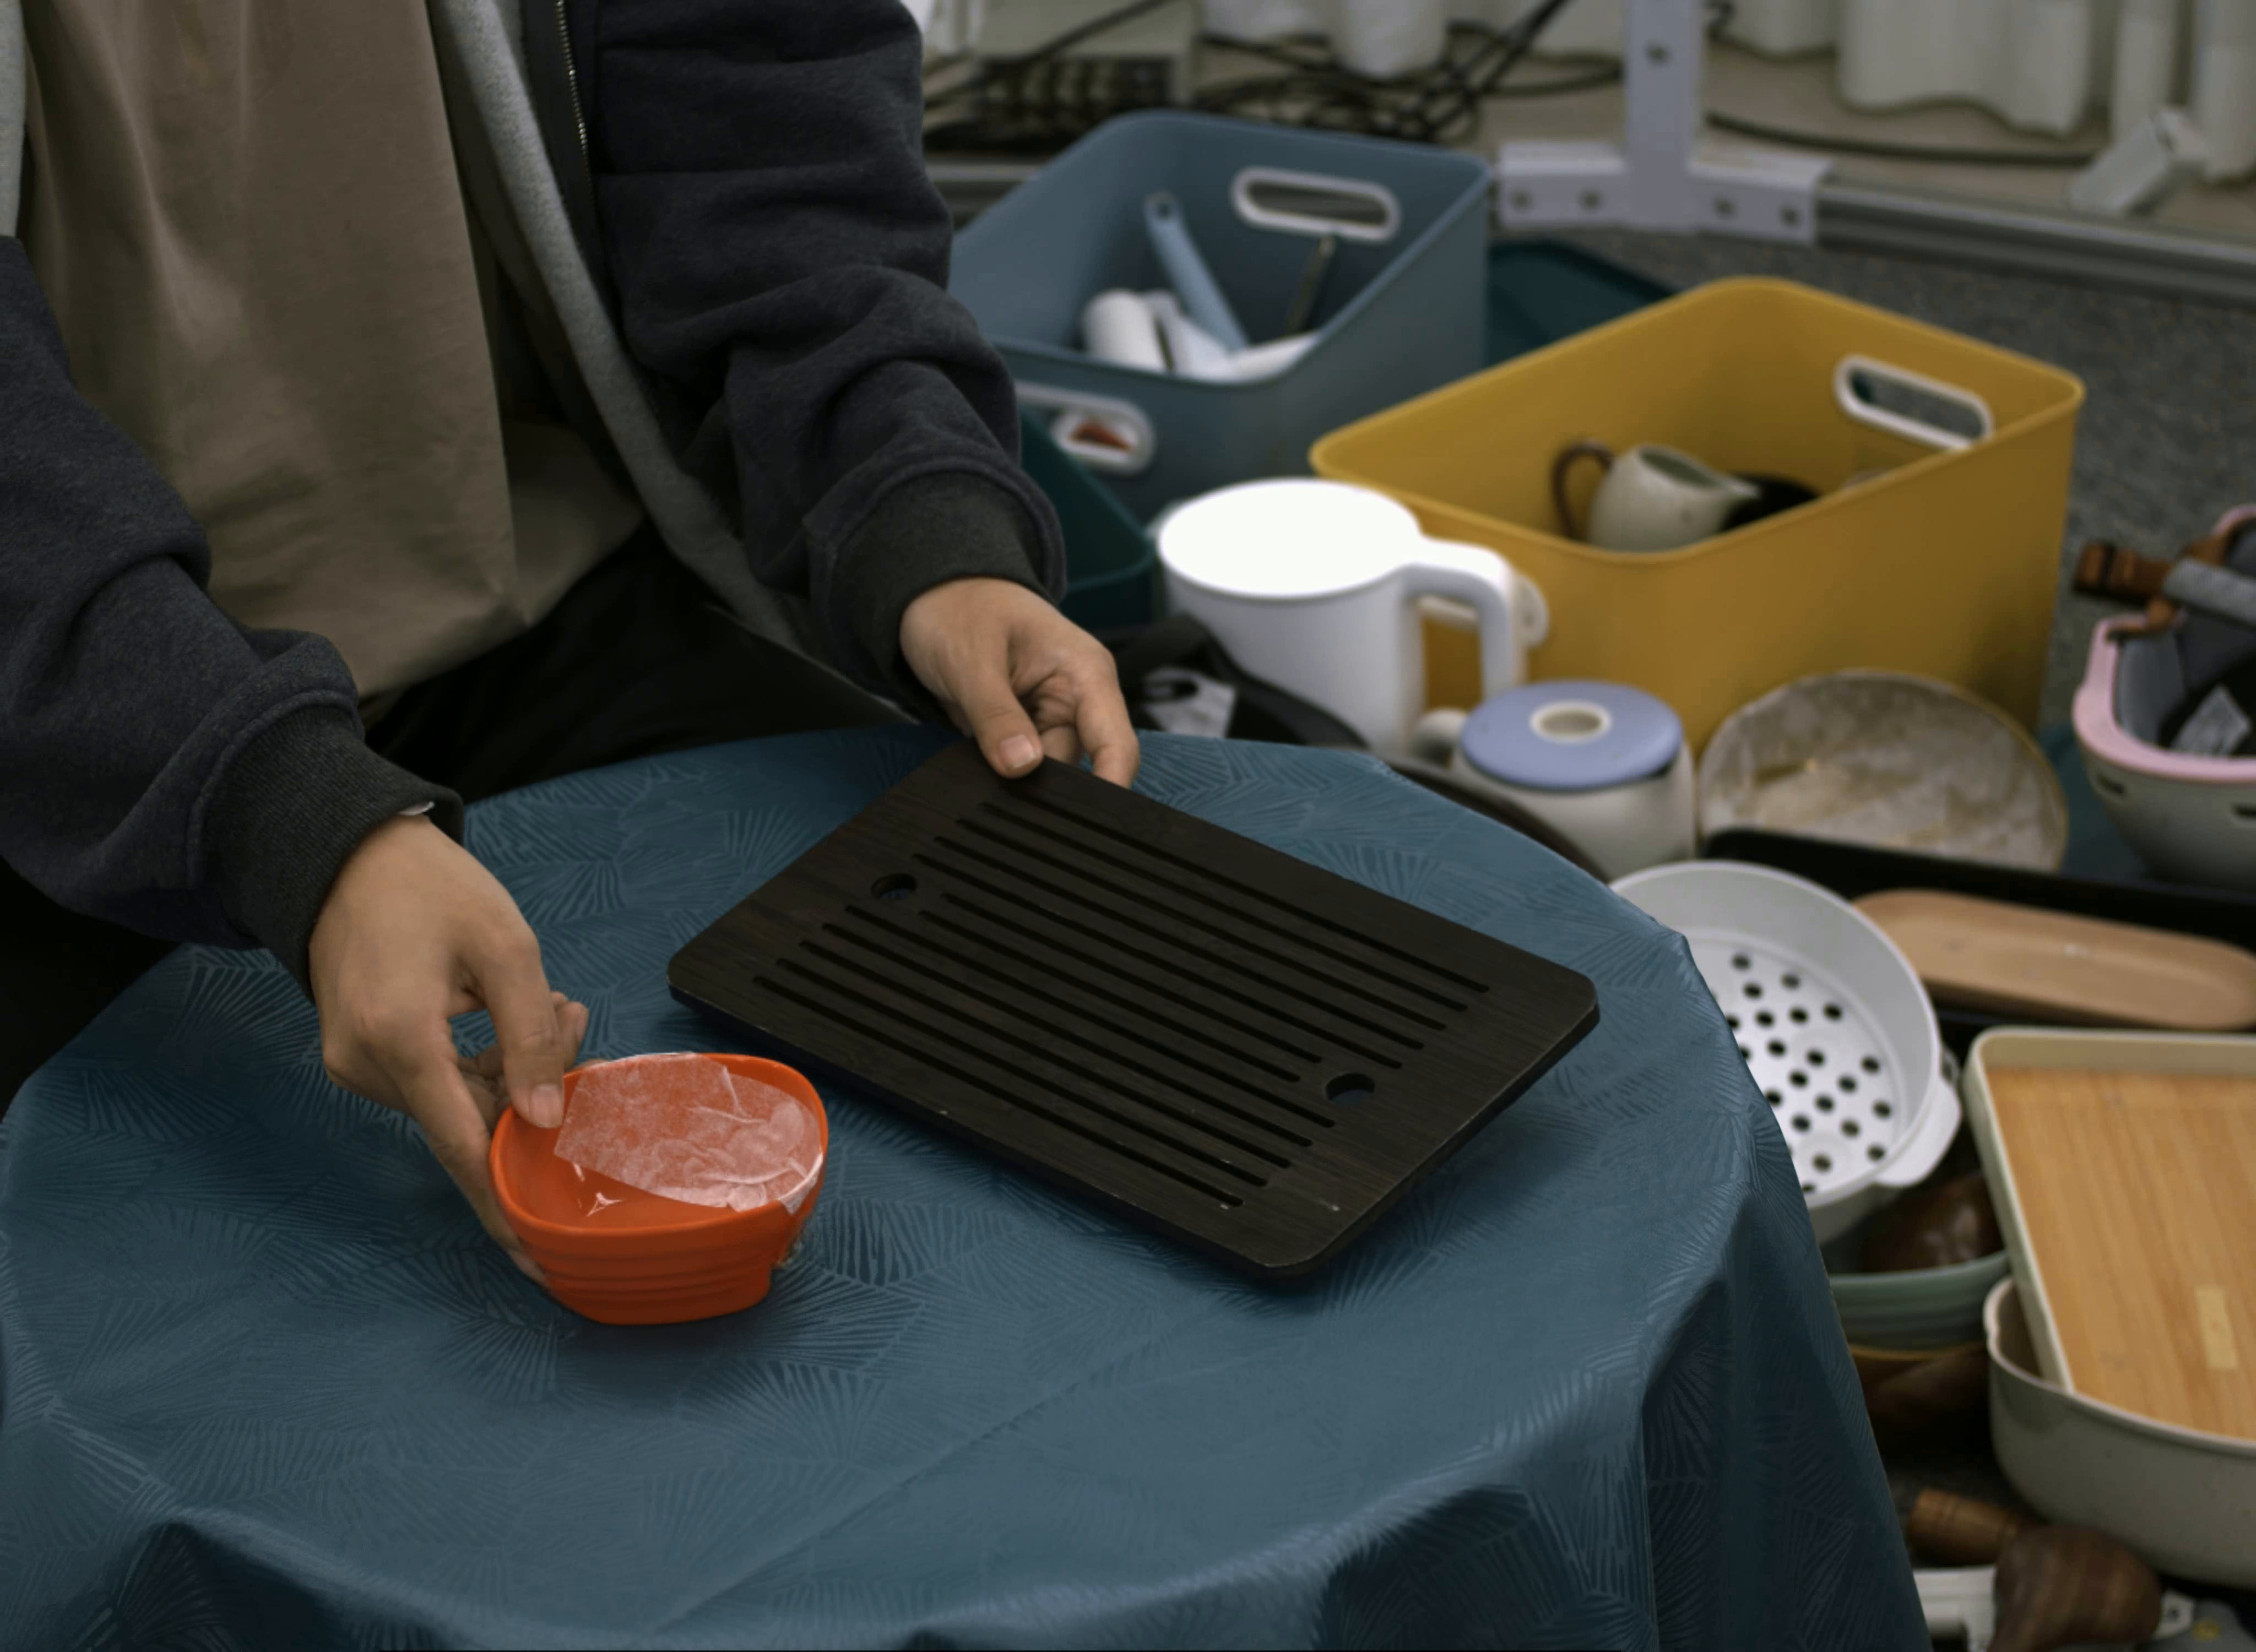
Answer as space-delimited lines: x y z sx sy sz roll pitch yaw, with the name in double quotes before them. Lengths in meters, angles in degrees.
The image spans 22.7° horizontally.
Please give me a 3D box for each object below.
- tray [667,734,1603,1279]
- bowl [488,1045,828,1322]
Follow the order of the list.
"tray" -0.001 0.059 1.930 0.305 0.018 0.172 22 47 38
"bowl" -0.150 0.121 1.819 0.118 0.051 0.121 -3 29 2
